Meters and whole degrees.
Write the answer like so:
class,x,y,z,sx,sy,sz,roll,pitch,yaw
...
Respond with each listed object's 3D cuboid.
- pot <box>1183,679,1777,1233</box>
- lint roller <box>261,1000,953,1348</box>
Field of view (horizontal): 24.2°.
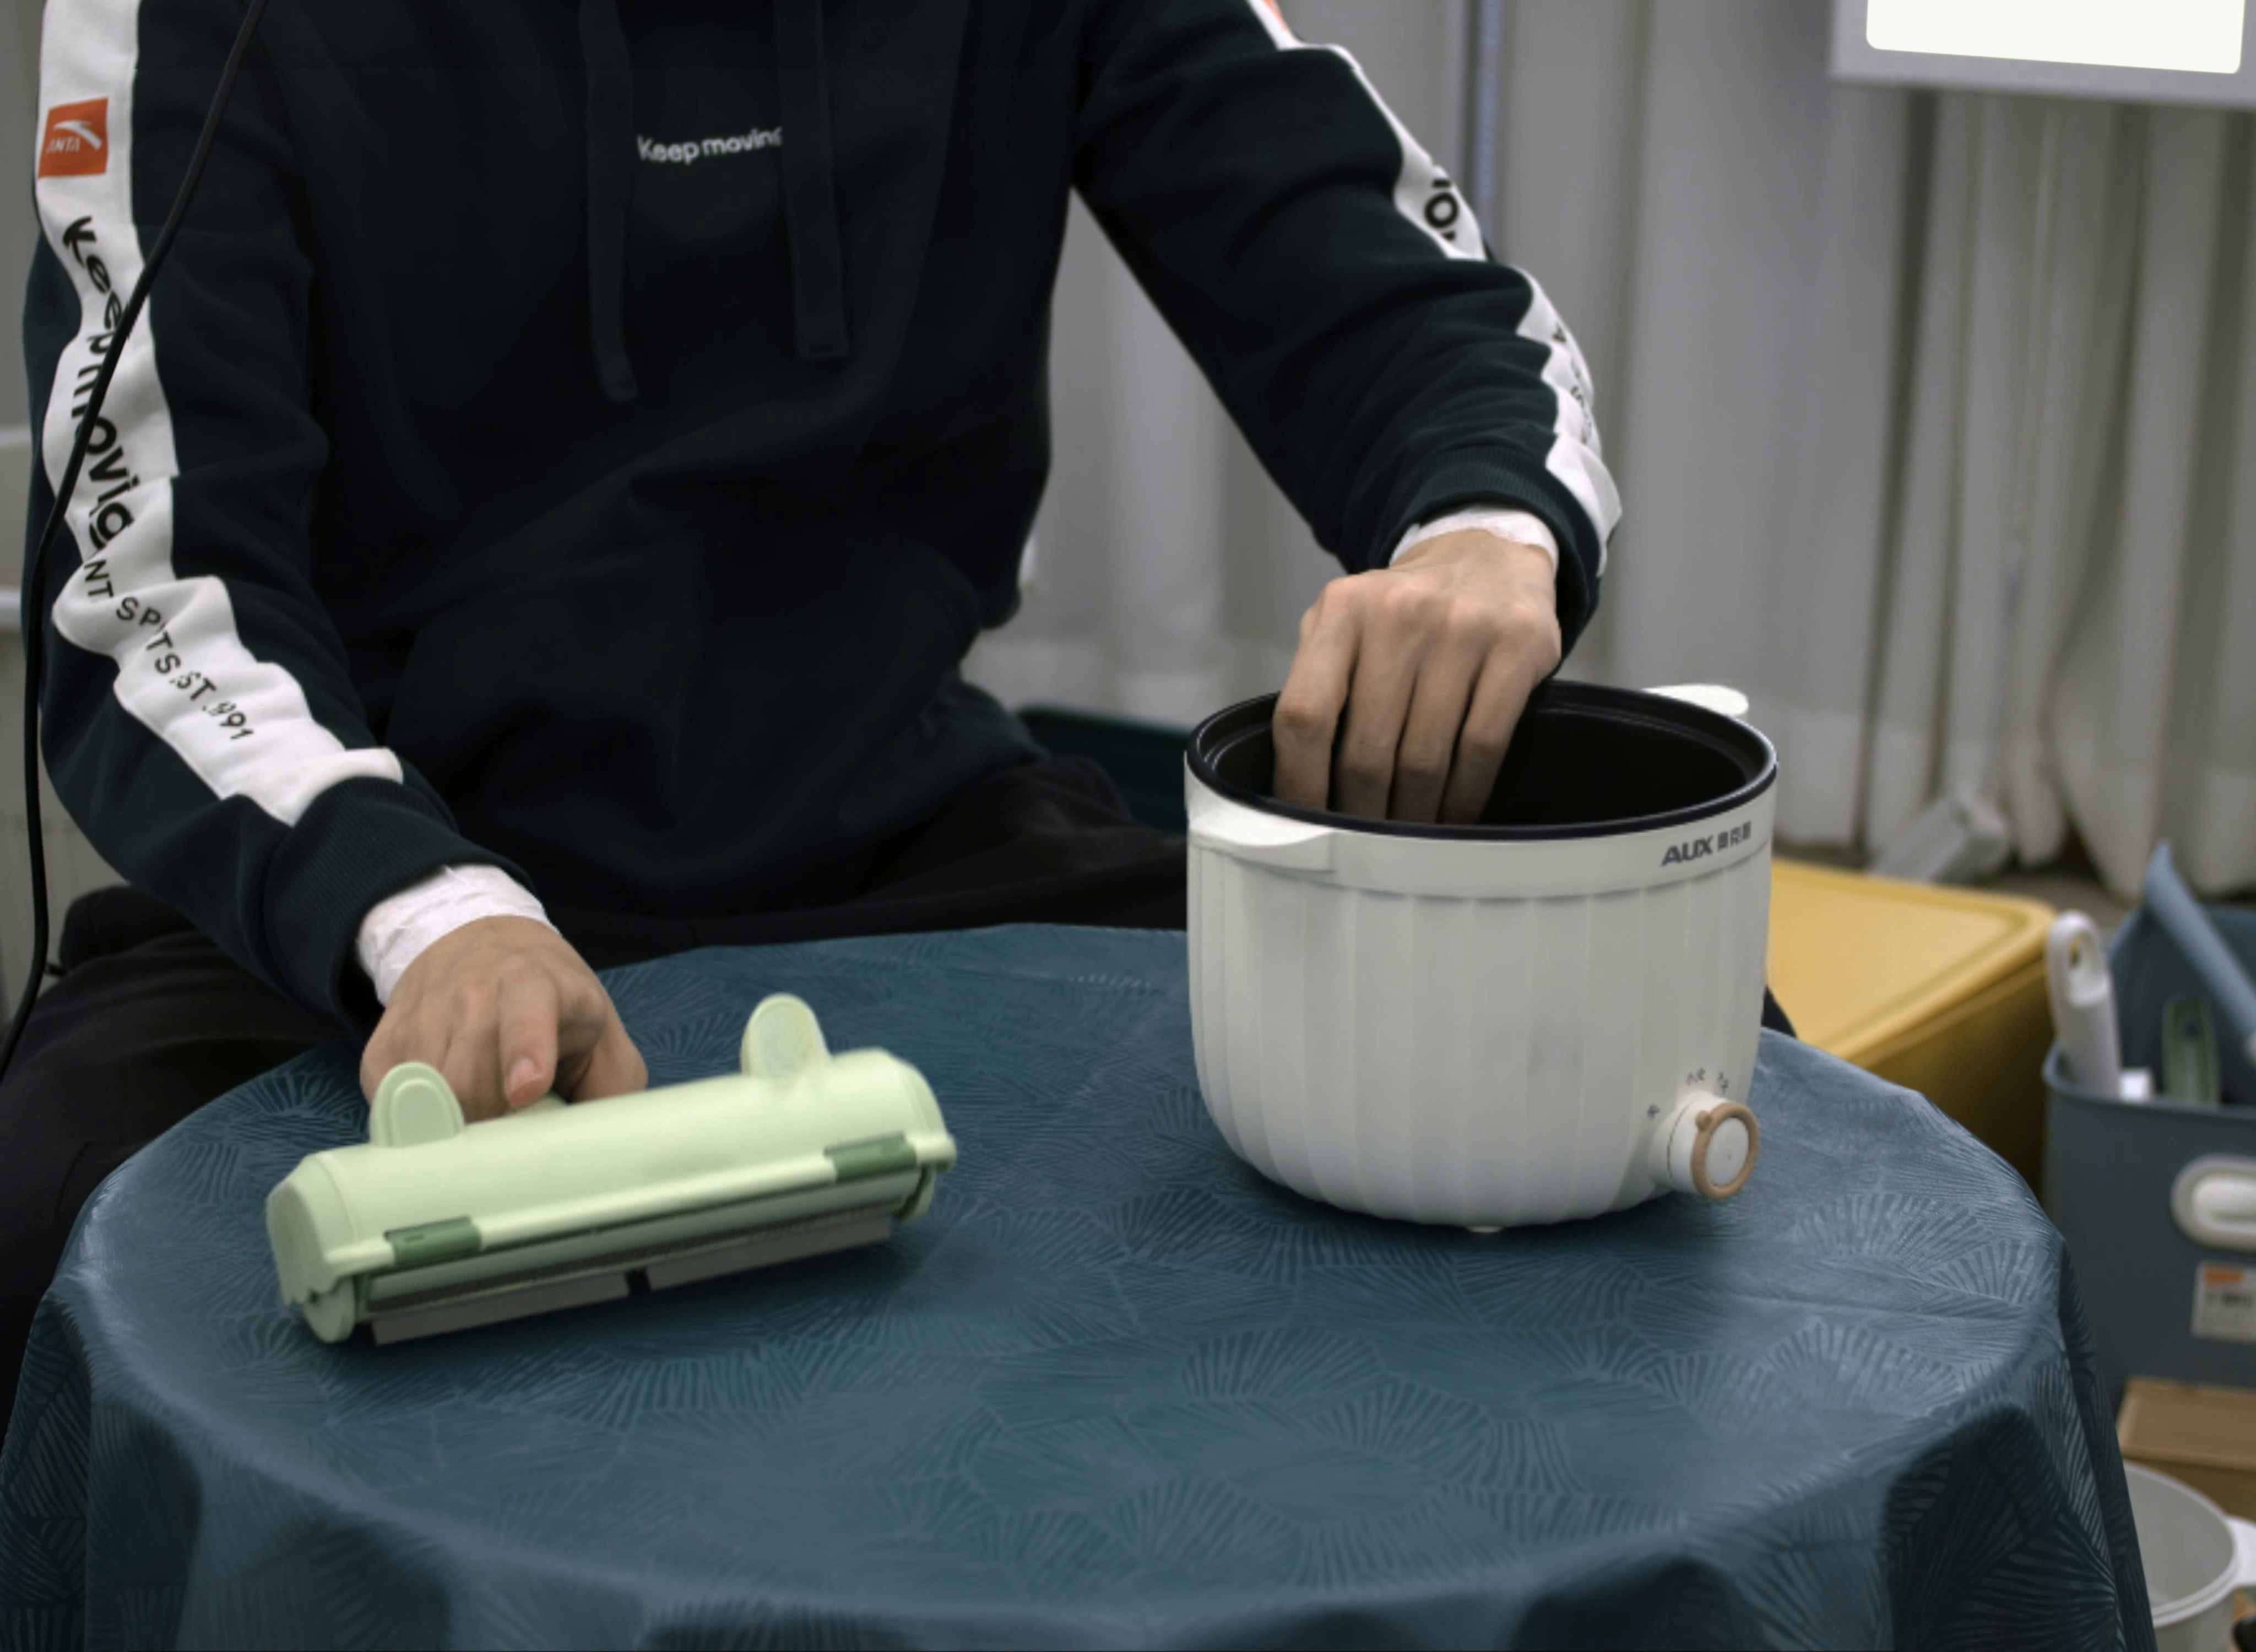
class,x,y,z,sx,sy,sz,roll,pitch,yaw
pot,0.112,0.041,1.621,0.188,0.144,0.241,11,20,42
lint roller,-0.175,0.083,1.565,0.199,0.083,0.181,-9,24,-26
